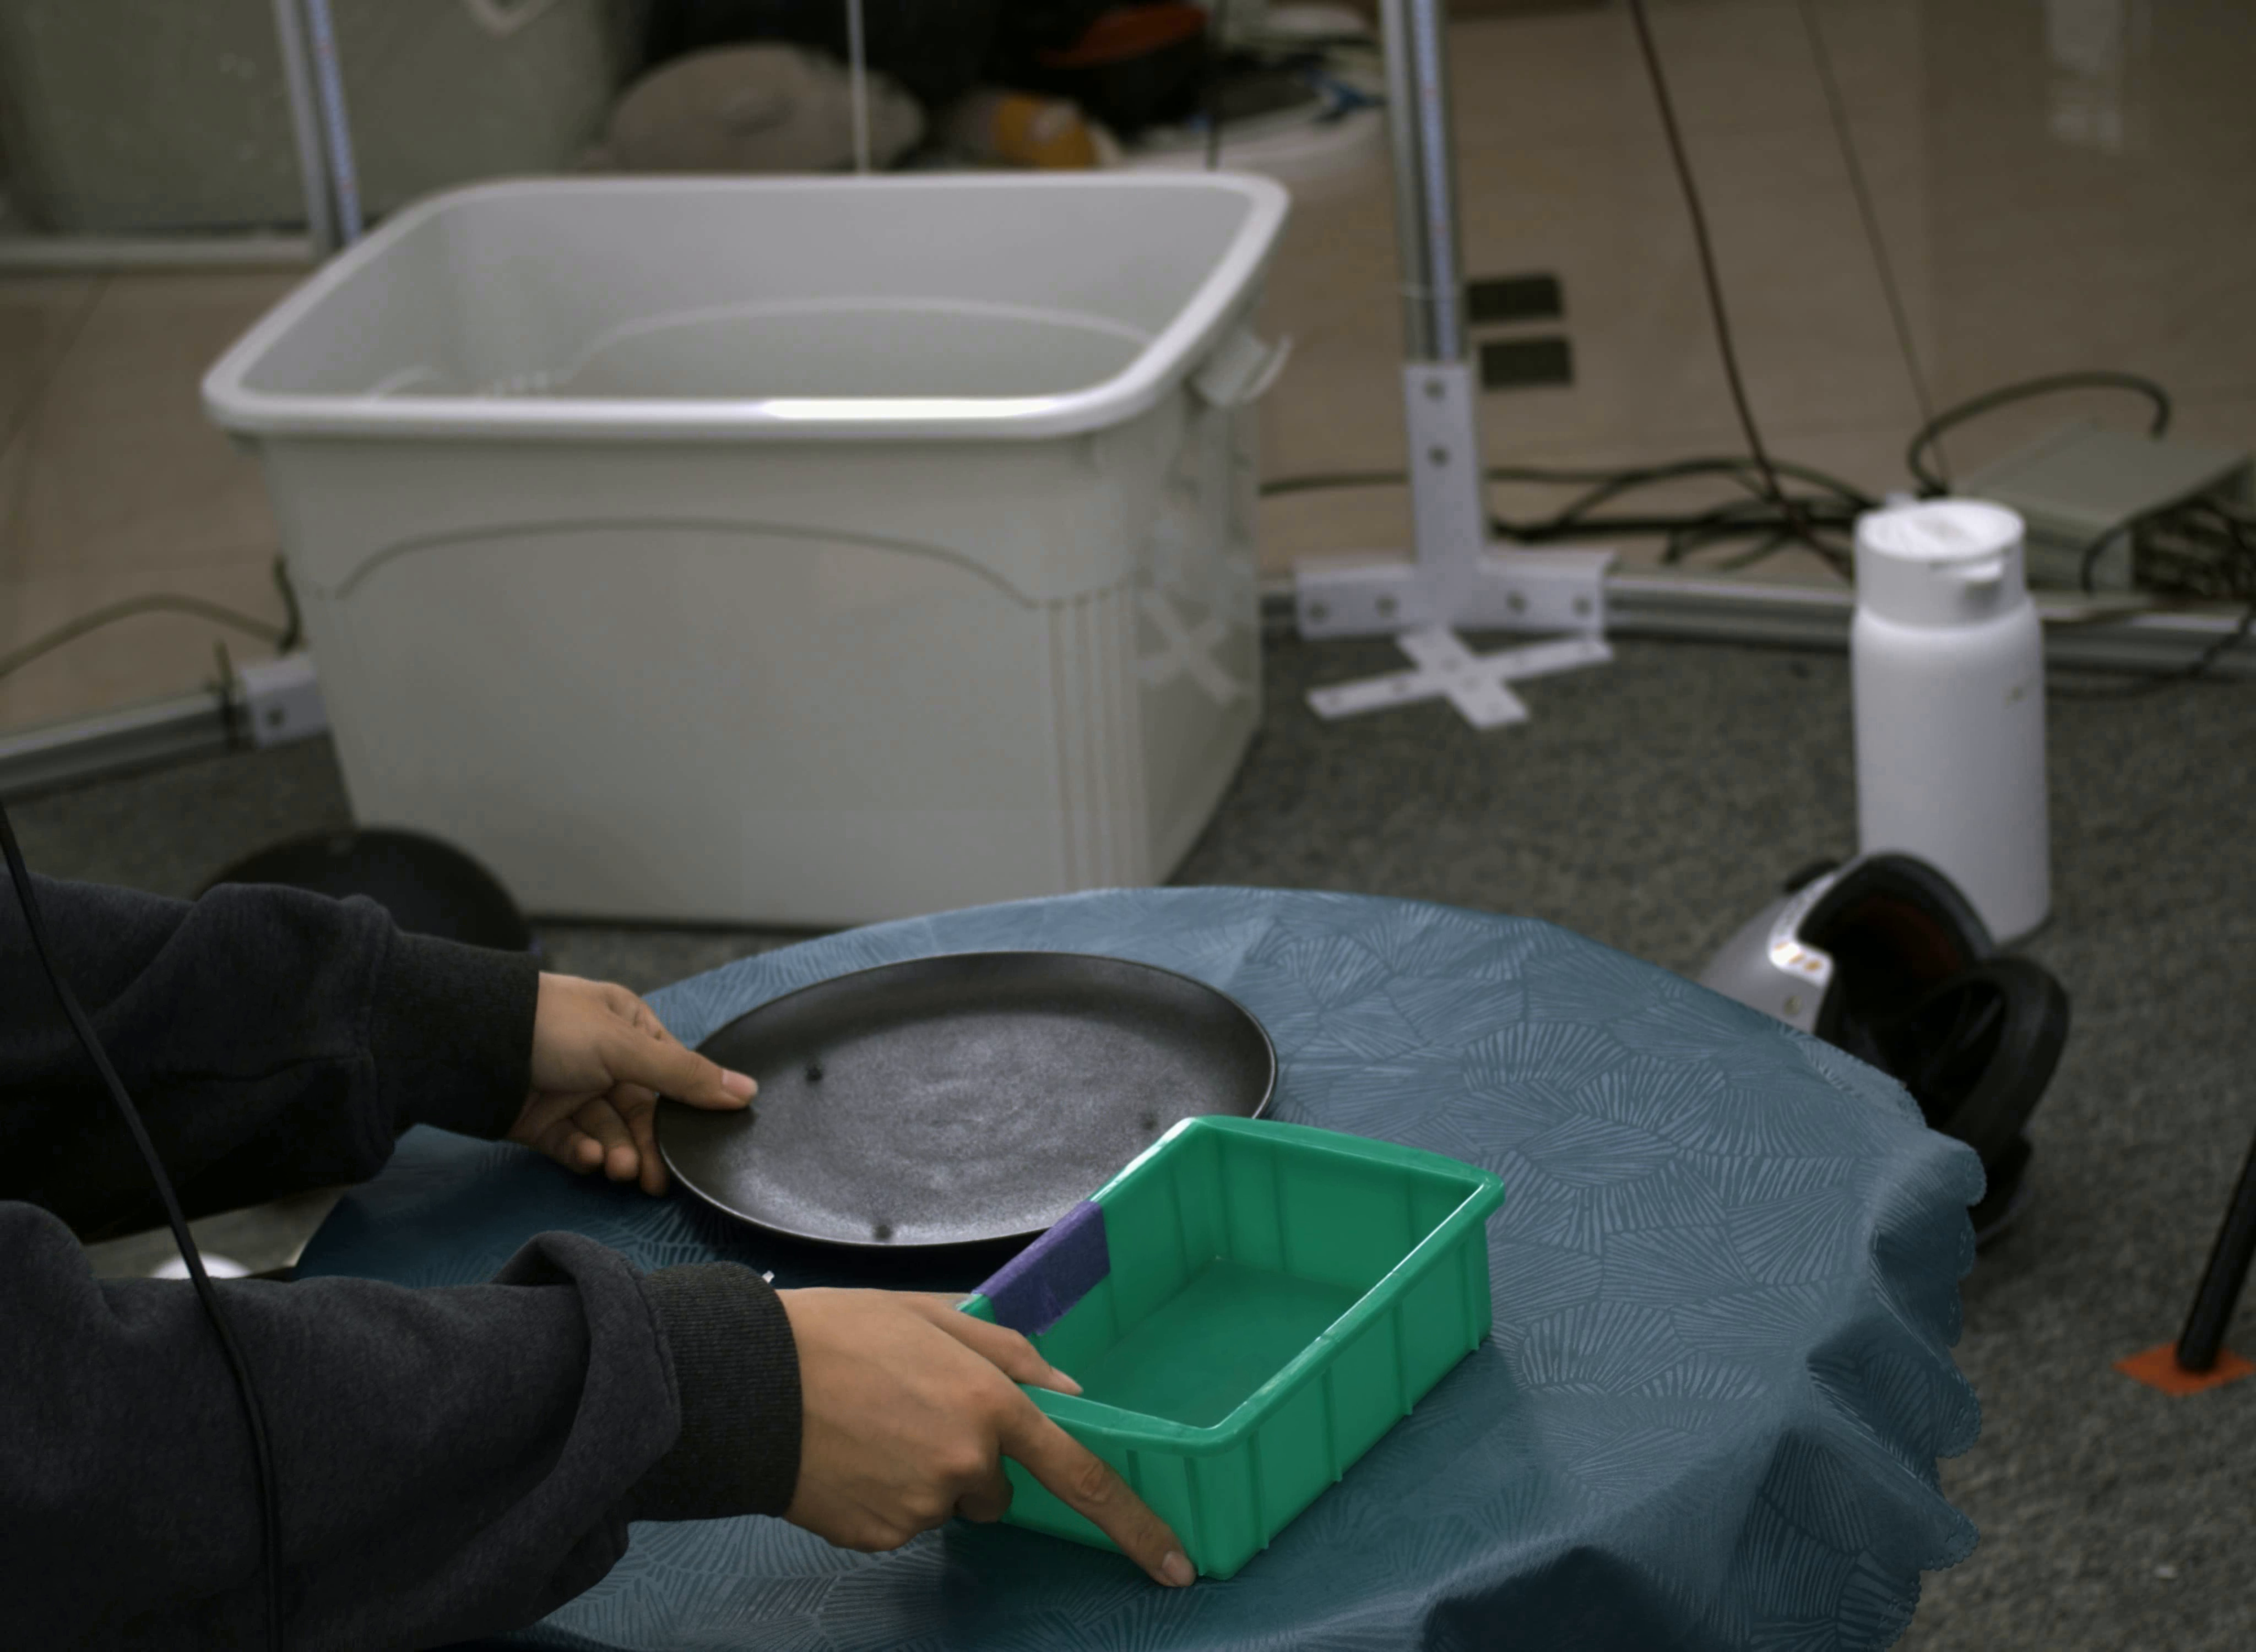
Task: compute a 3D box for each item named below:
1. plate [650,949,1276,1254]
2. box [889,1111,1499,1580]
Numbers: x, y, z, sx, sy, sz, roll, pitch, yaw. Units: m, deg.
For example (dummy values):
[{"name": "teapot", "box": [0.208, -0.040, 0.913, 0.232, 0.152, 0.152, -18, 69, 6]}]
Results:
[{"name": "plate", "box": [-0.063, 0.111, 2.192, 0.244, 0.024, 0.241, -4, 26, 2]}, {"name": "box", "box": [0.028, 0.180, 1.975, 0.138, 0.066, 0.208, 8, 31, 32]}]
